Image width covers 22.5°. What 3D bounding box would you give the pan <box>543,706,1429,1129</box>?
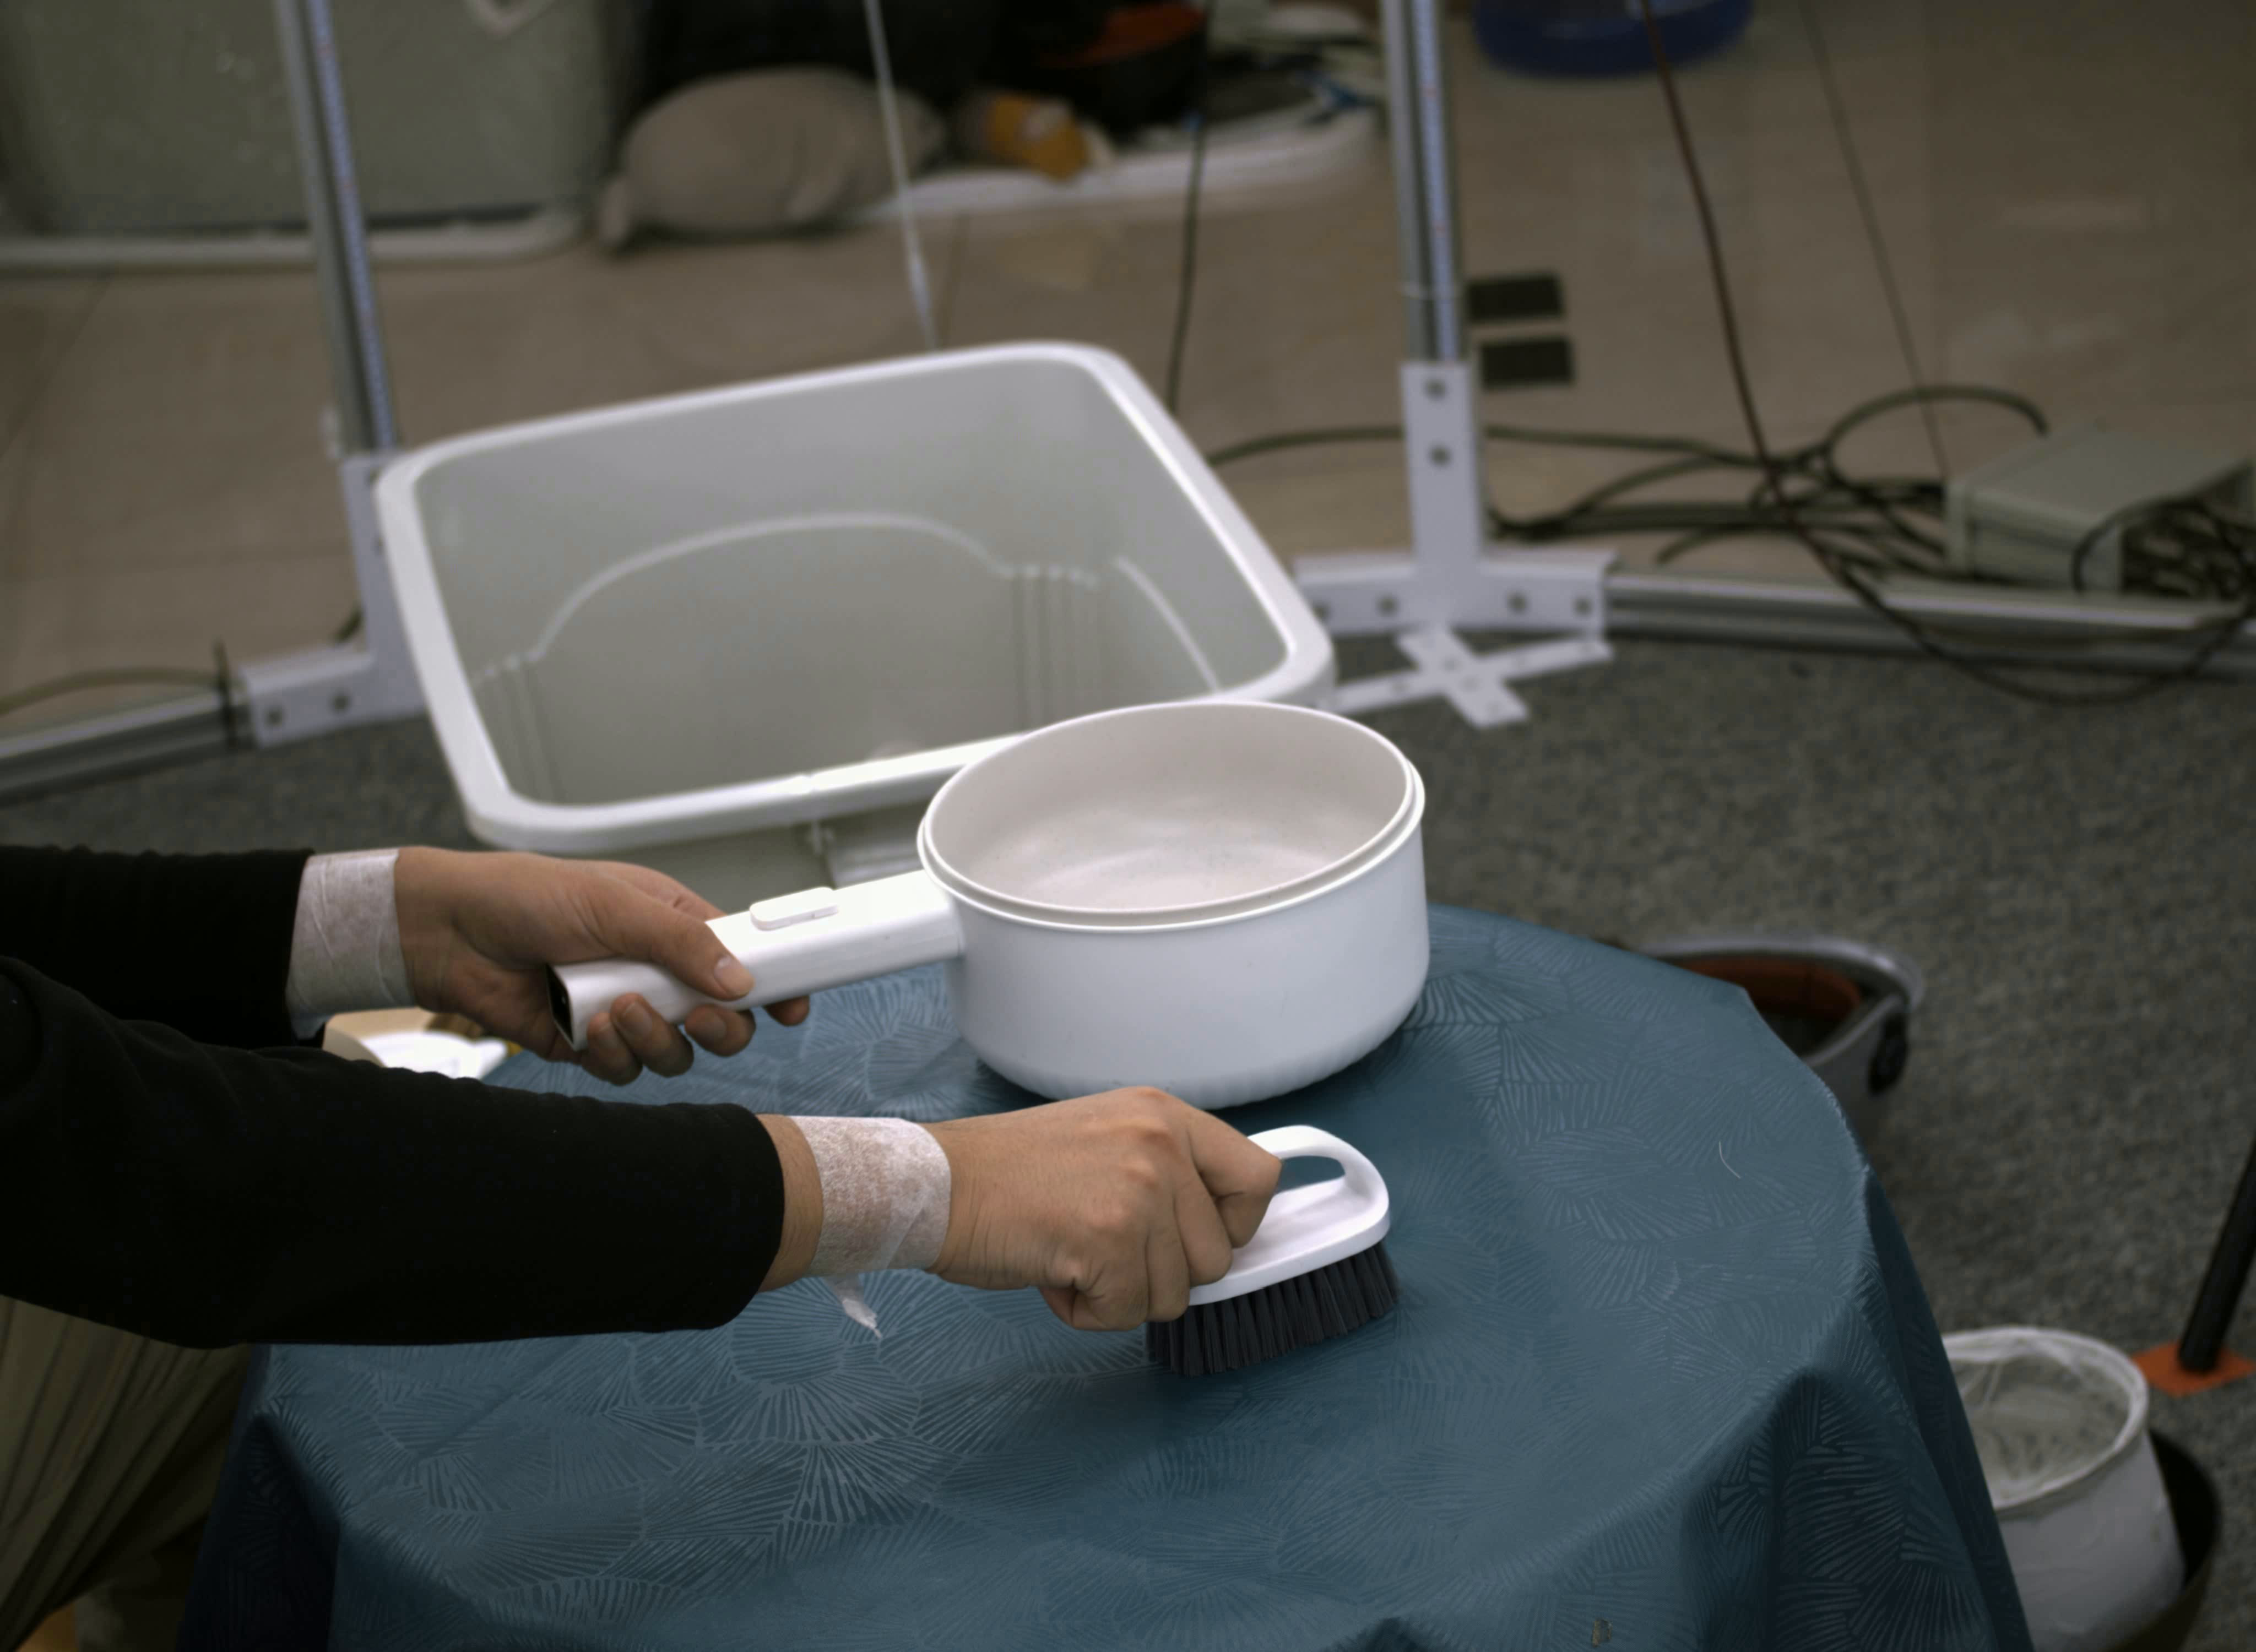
[{"bbox_3d":[-0.050,0.058,2.222,0.353,0.104,0.198,-15,28,-16],"label":"pan"}]

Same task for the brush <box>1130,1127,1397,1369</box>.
[{"bbox_3d":[0.047,0.145,2.033,0.099,0.074,0.049,-17,31,-20],"label":"brush"}]
